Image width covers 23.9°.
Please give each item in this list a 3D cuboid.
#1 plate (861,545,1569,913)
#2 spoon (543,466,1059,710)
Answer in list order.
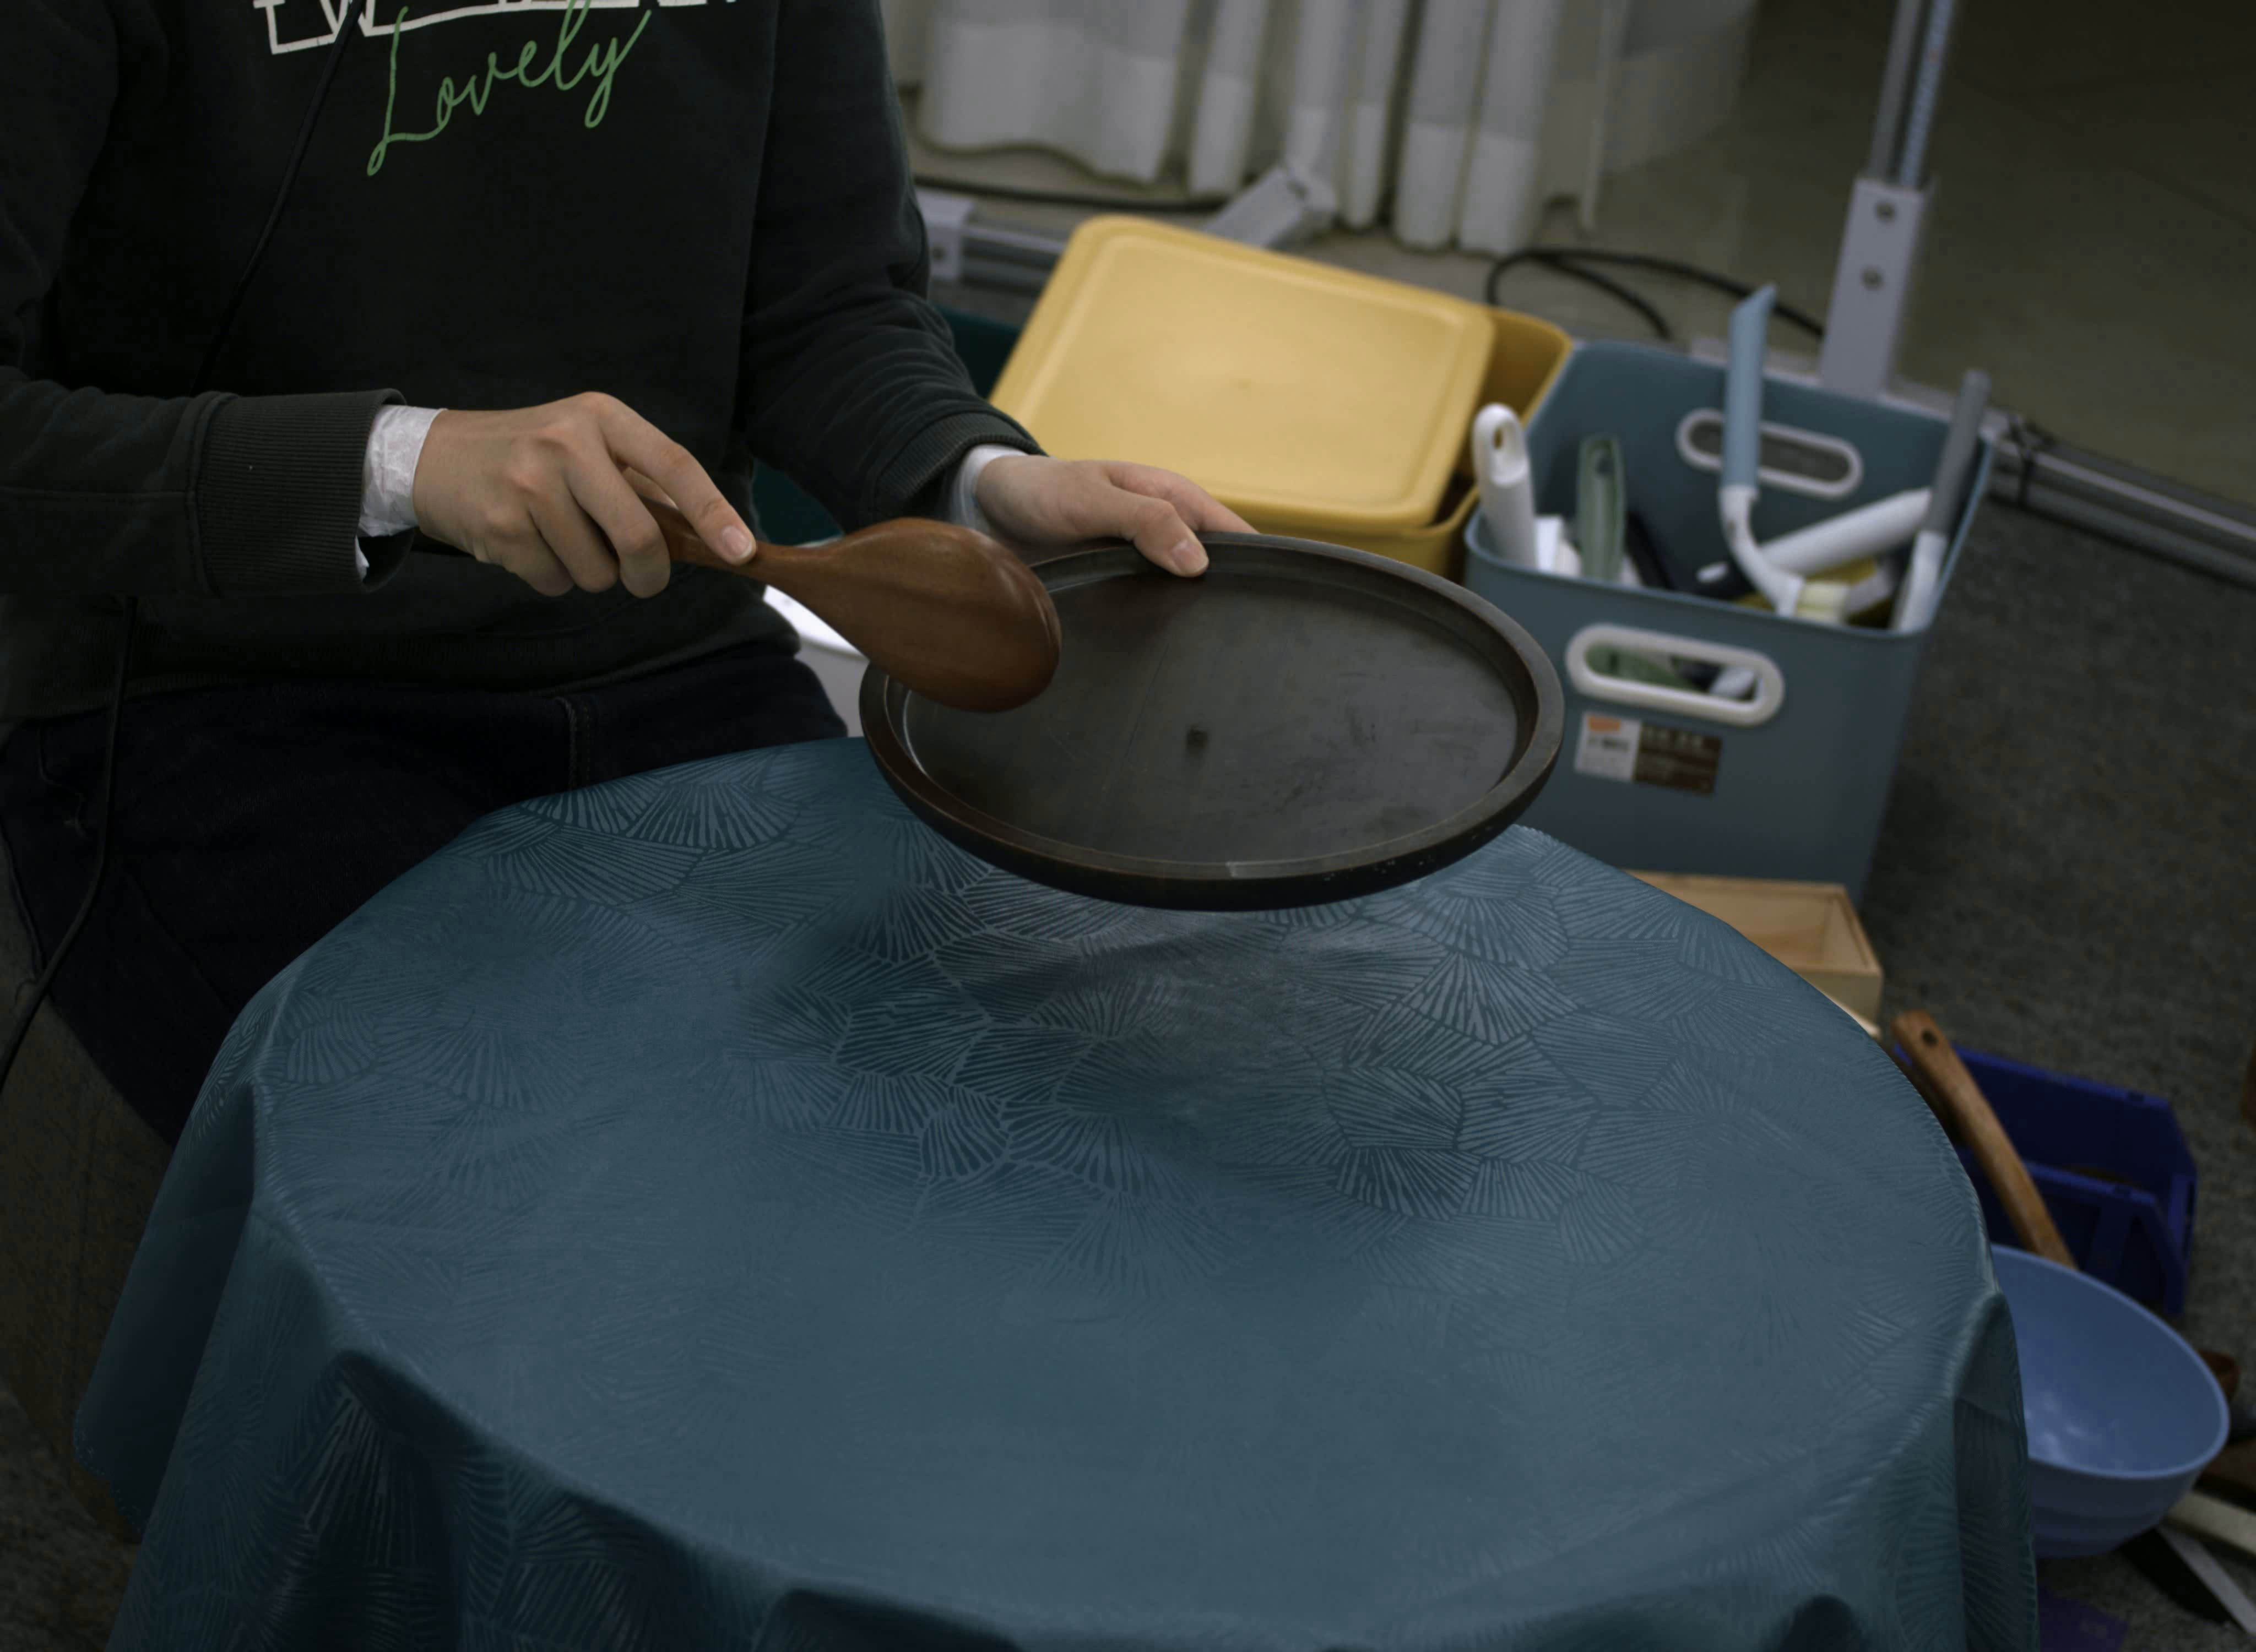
[{"bbox_3d":[0.031,-0.037,1.900,0.254,0.029,0.256,1,31,-1],"label":"plate"},{"bbox_3d":[-0.119,-0.090,1.890,0.217,0.075,0.017,18,40,26],"label":"spoon"}]
